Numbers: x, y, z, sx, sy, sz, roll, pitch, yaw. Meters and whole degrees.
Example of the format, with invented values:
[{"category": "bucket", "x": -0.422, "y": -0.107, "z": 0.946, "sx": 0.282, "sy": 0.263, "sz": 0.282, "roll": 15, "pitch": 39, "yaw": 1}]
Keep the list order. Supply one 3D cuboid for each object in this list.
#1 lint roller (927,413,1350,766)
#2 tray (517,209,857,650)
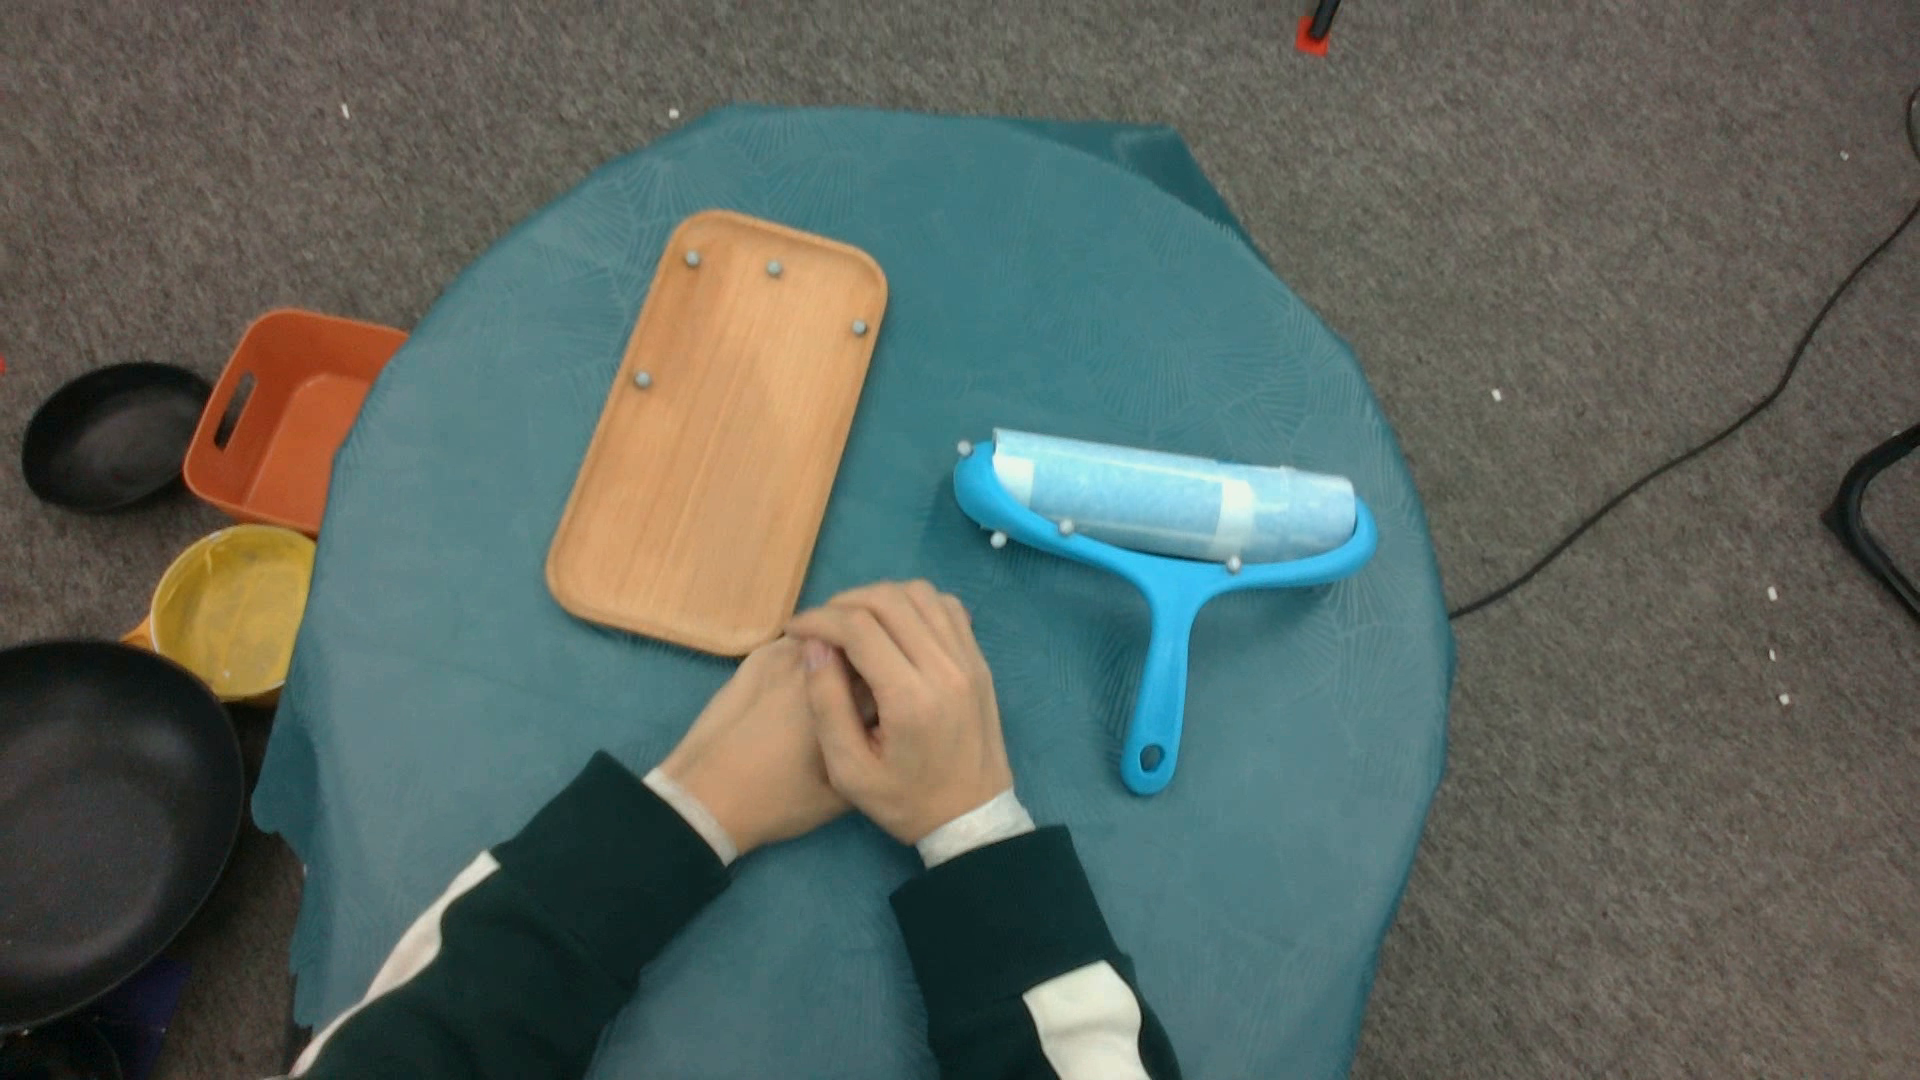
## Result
[{"category": "lint roller", "x": 0.096, "y": 0.022, "z": 0.715, "sx": 0.229, "sy": 0.067, "sz": 0.181, "roll": 4, "pitch": 66, "yaw": -8}, {"category": "tray", "x": -0.140, "y": -0.065, "z": 0.738, "sx": 0.130, "sy": 0.023, "sz": 0.251, "roll": 13, "pitch": 66, "yaw": 0}]
